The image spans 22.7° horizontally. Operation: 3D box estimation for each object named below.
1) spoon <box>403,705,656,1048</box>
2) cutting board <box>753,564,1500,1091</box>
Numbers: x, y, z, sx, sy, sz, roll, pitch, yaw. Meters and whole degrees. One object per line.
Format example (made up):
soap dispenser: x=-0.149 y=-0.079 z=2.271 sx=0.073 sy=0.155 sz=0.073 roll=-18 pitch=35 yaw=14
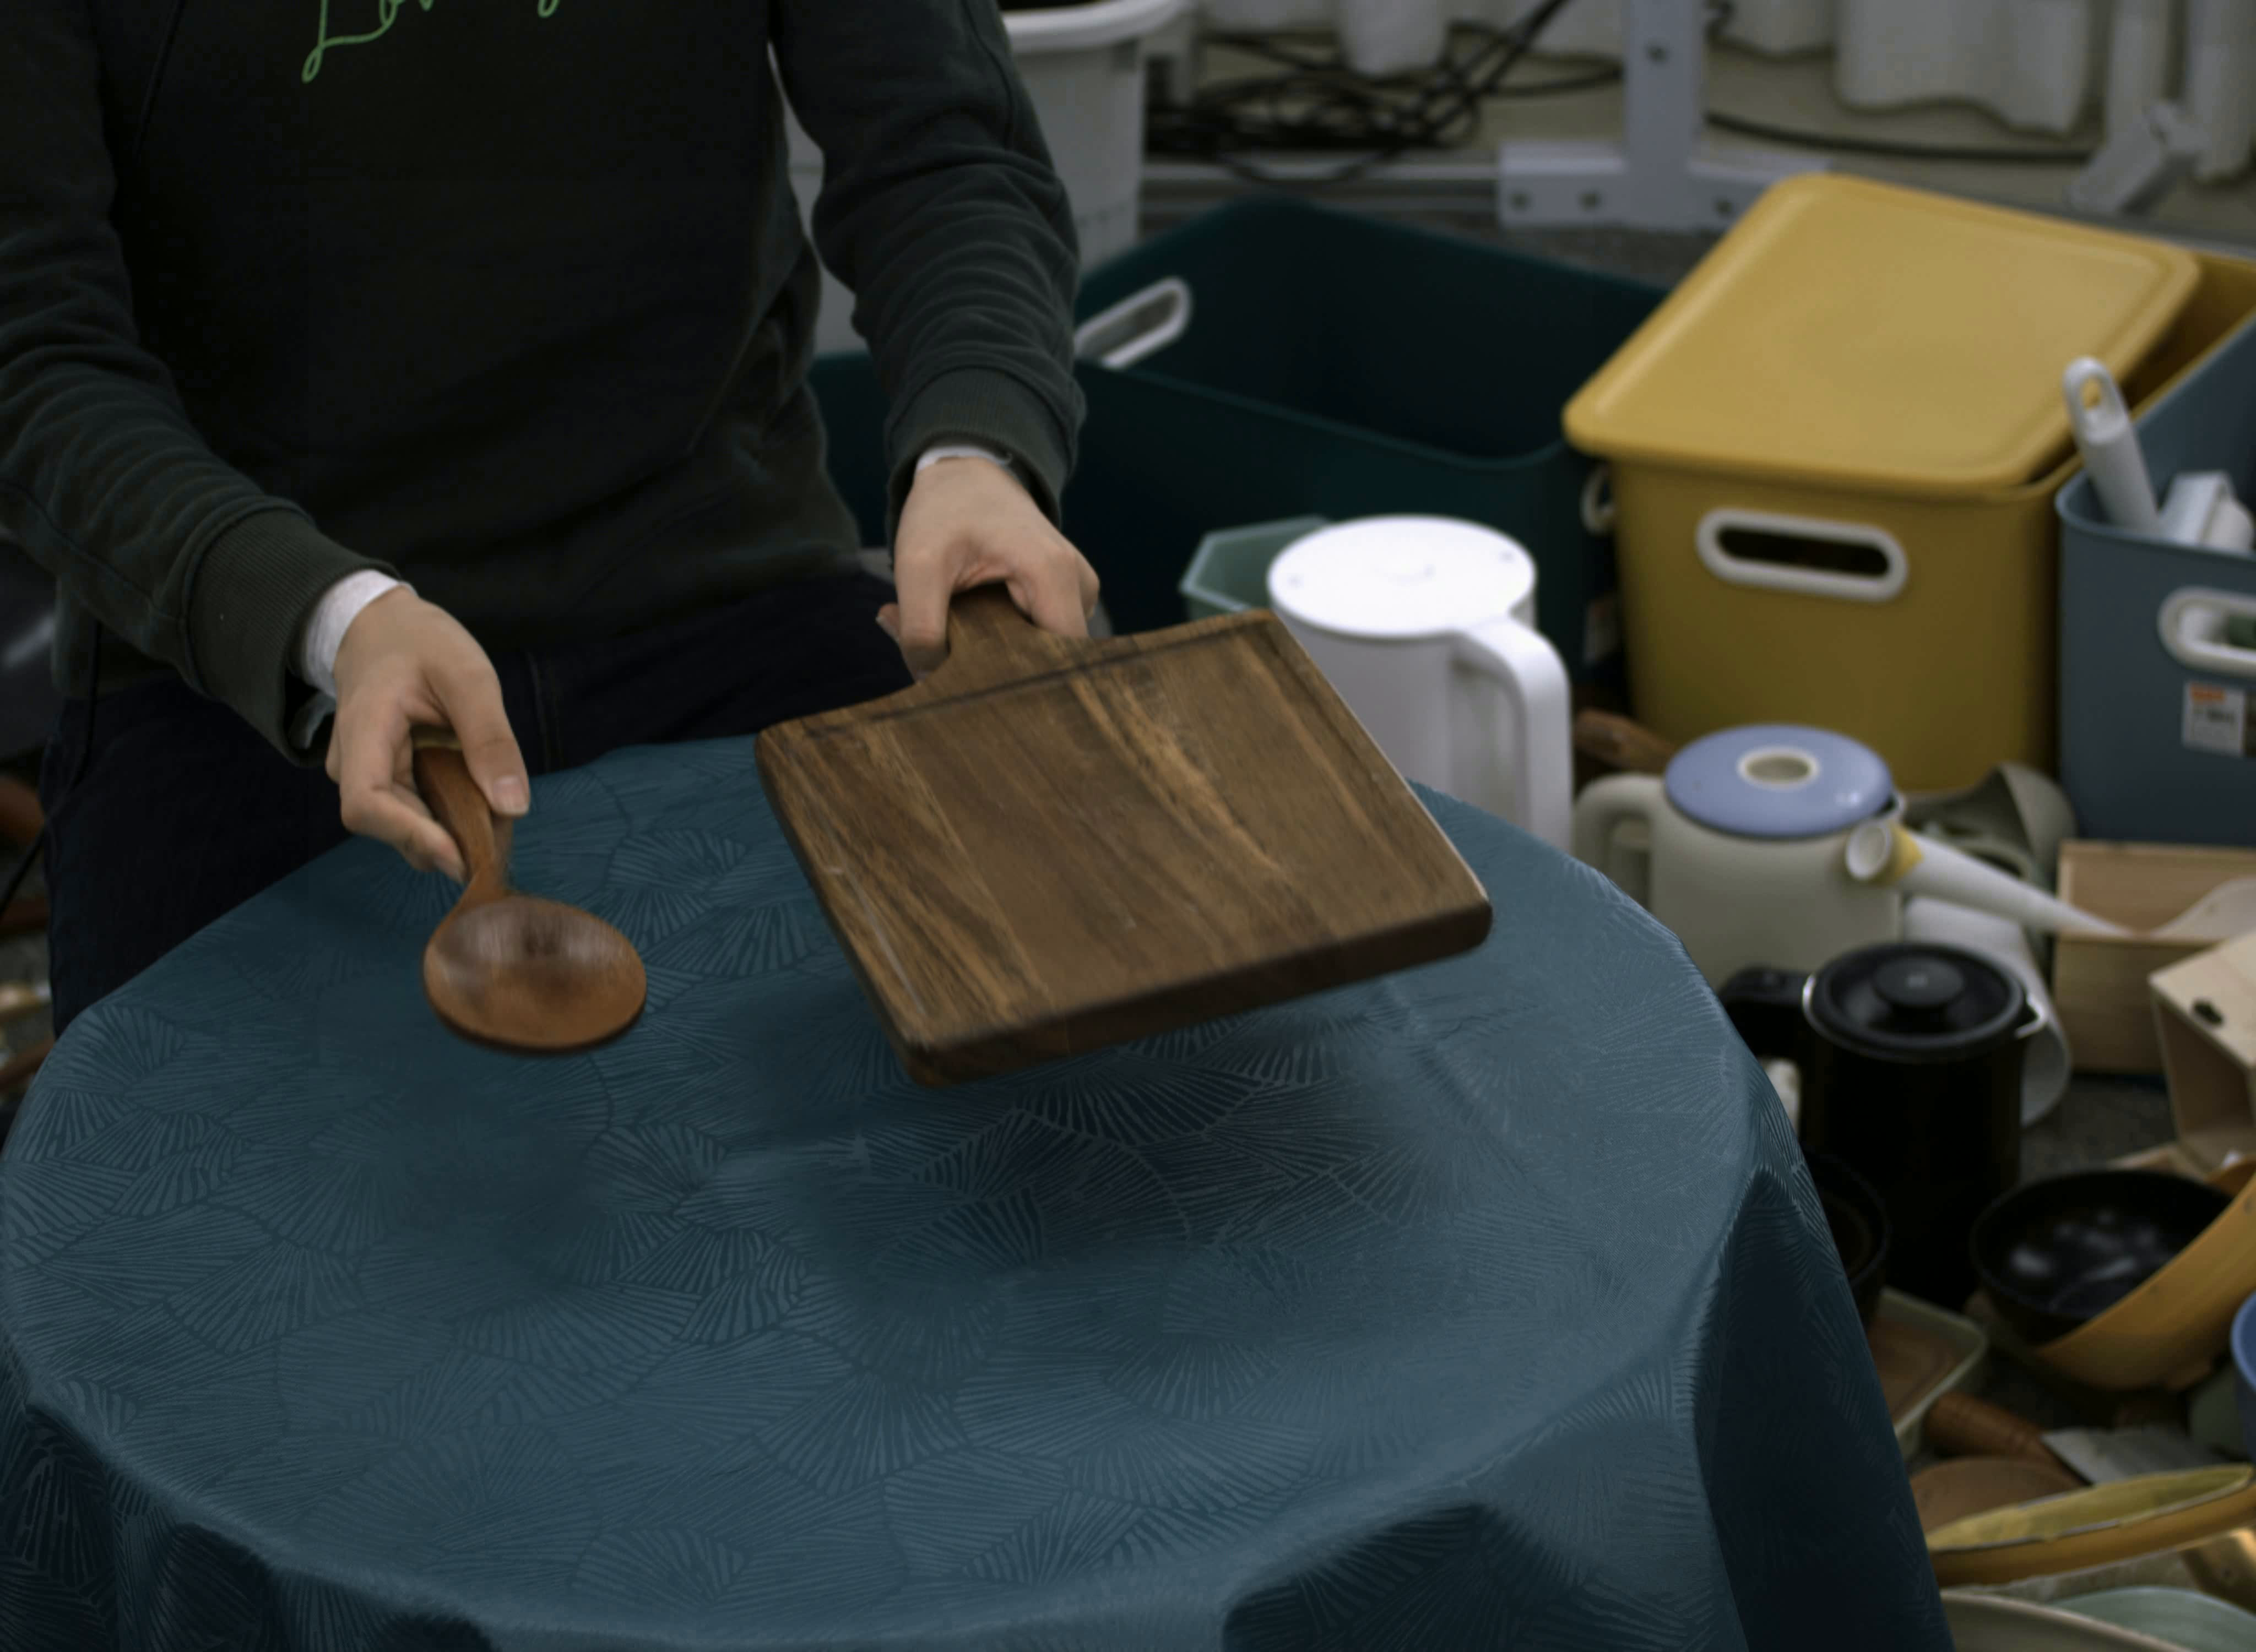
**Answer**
spoon: x=-0.212 y=0.018 z=1.898 sx=0.075 sy=0.017 sz=0.218 roll=-7 pitch=33 yaw=-16
cutting board: x=-0.019 y=-0.018 z=1.932 sx=0.201 sy=0.023 sz=0.355 roll=-15 pitch=27 yaw=-10
